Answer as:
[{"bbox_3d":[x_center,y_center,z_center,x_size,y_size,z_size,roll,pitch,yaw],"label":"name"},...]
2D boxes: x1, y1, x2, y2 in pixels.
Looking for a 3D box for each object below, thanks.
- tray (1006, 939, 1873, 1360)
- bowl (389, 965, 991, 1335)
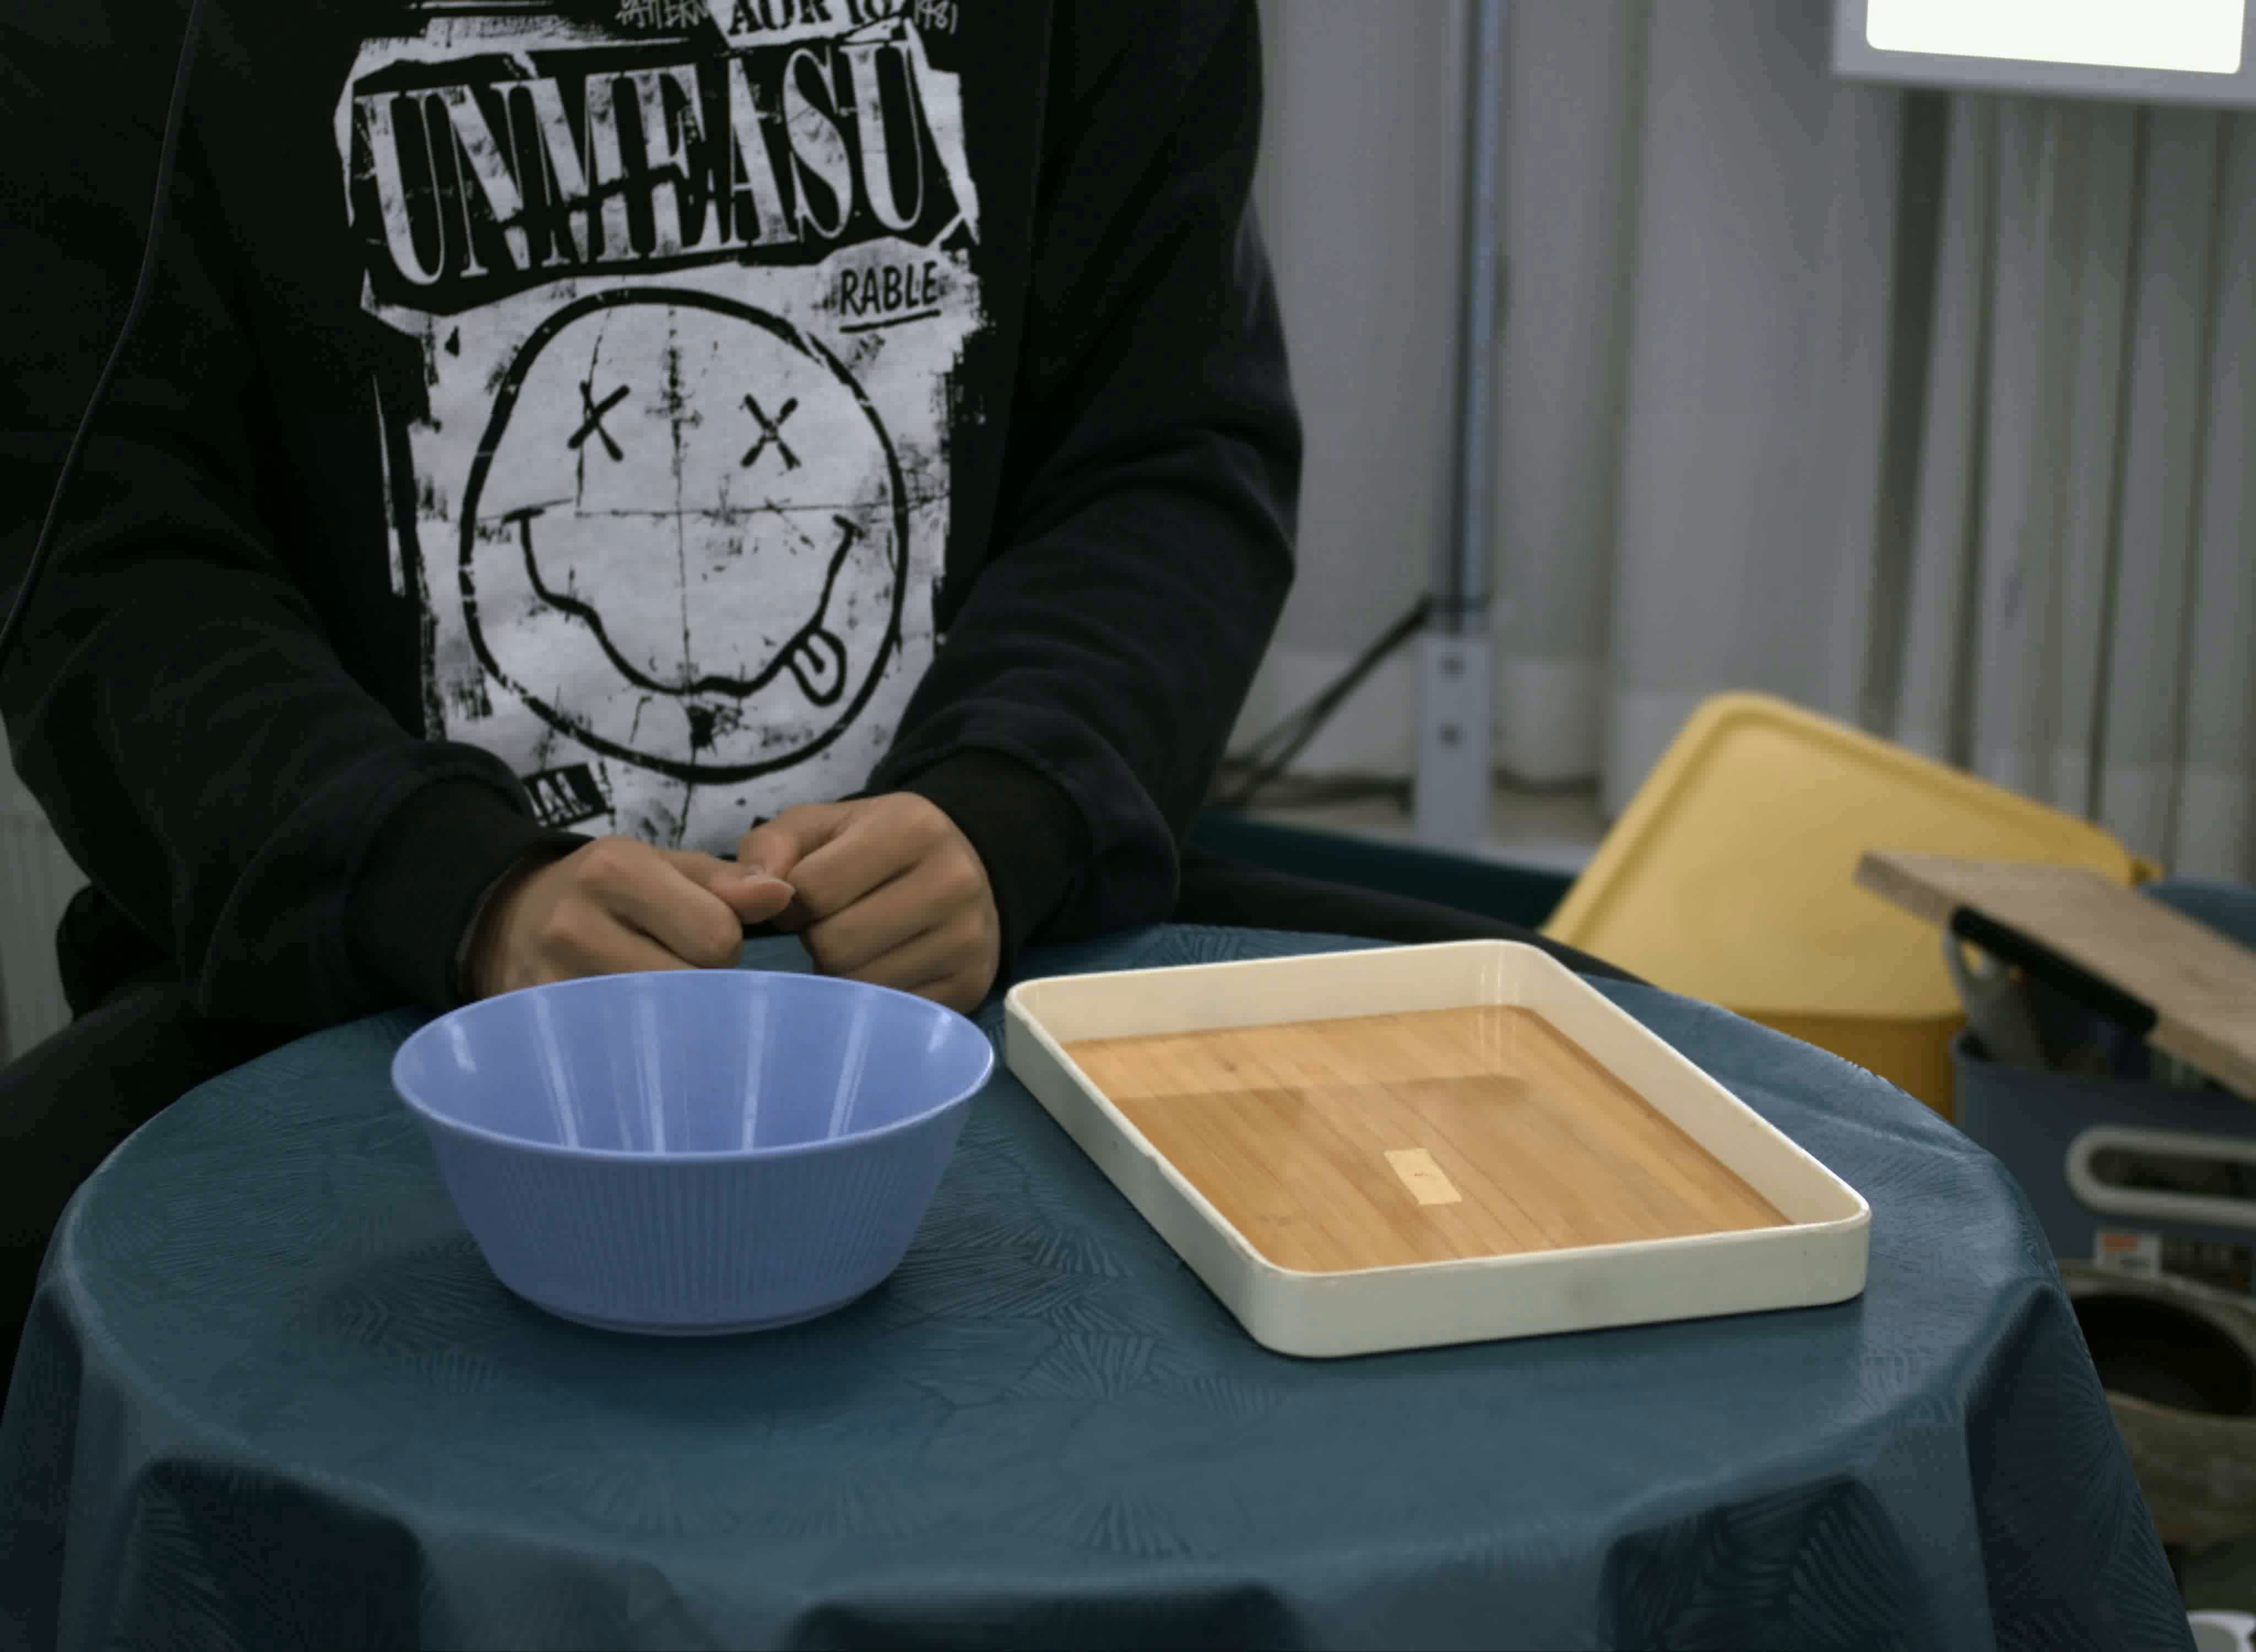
[{"bbox_3d":[0.089,0.096,1.642,0.192,0.027,0.297,-4,17,-17],"label":"tray"},{"bbox_3d":[-0.128,0.097,1.543,0.175,0.071,0.175,1,17,0],"label":"bowl"}]
